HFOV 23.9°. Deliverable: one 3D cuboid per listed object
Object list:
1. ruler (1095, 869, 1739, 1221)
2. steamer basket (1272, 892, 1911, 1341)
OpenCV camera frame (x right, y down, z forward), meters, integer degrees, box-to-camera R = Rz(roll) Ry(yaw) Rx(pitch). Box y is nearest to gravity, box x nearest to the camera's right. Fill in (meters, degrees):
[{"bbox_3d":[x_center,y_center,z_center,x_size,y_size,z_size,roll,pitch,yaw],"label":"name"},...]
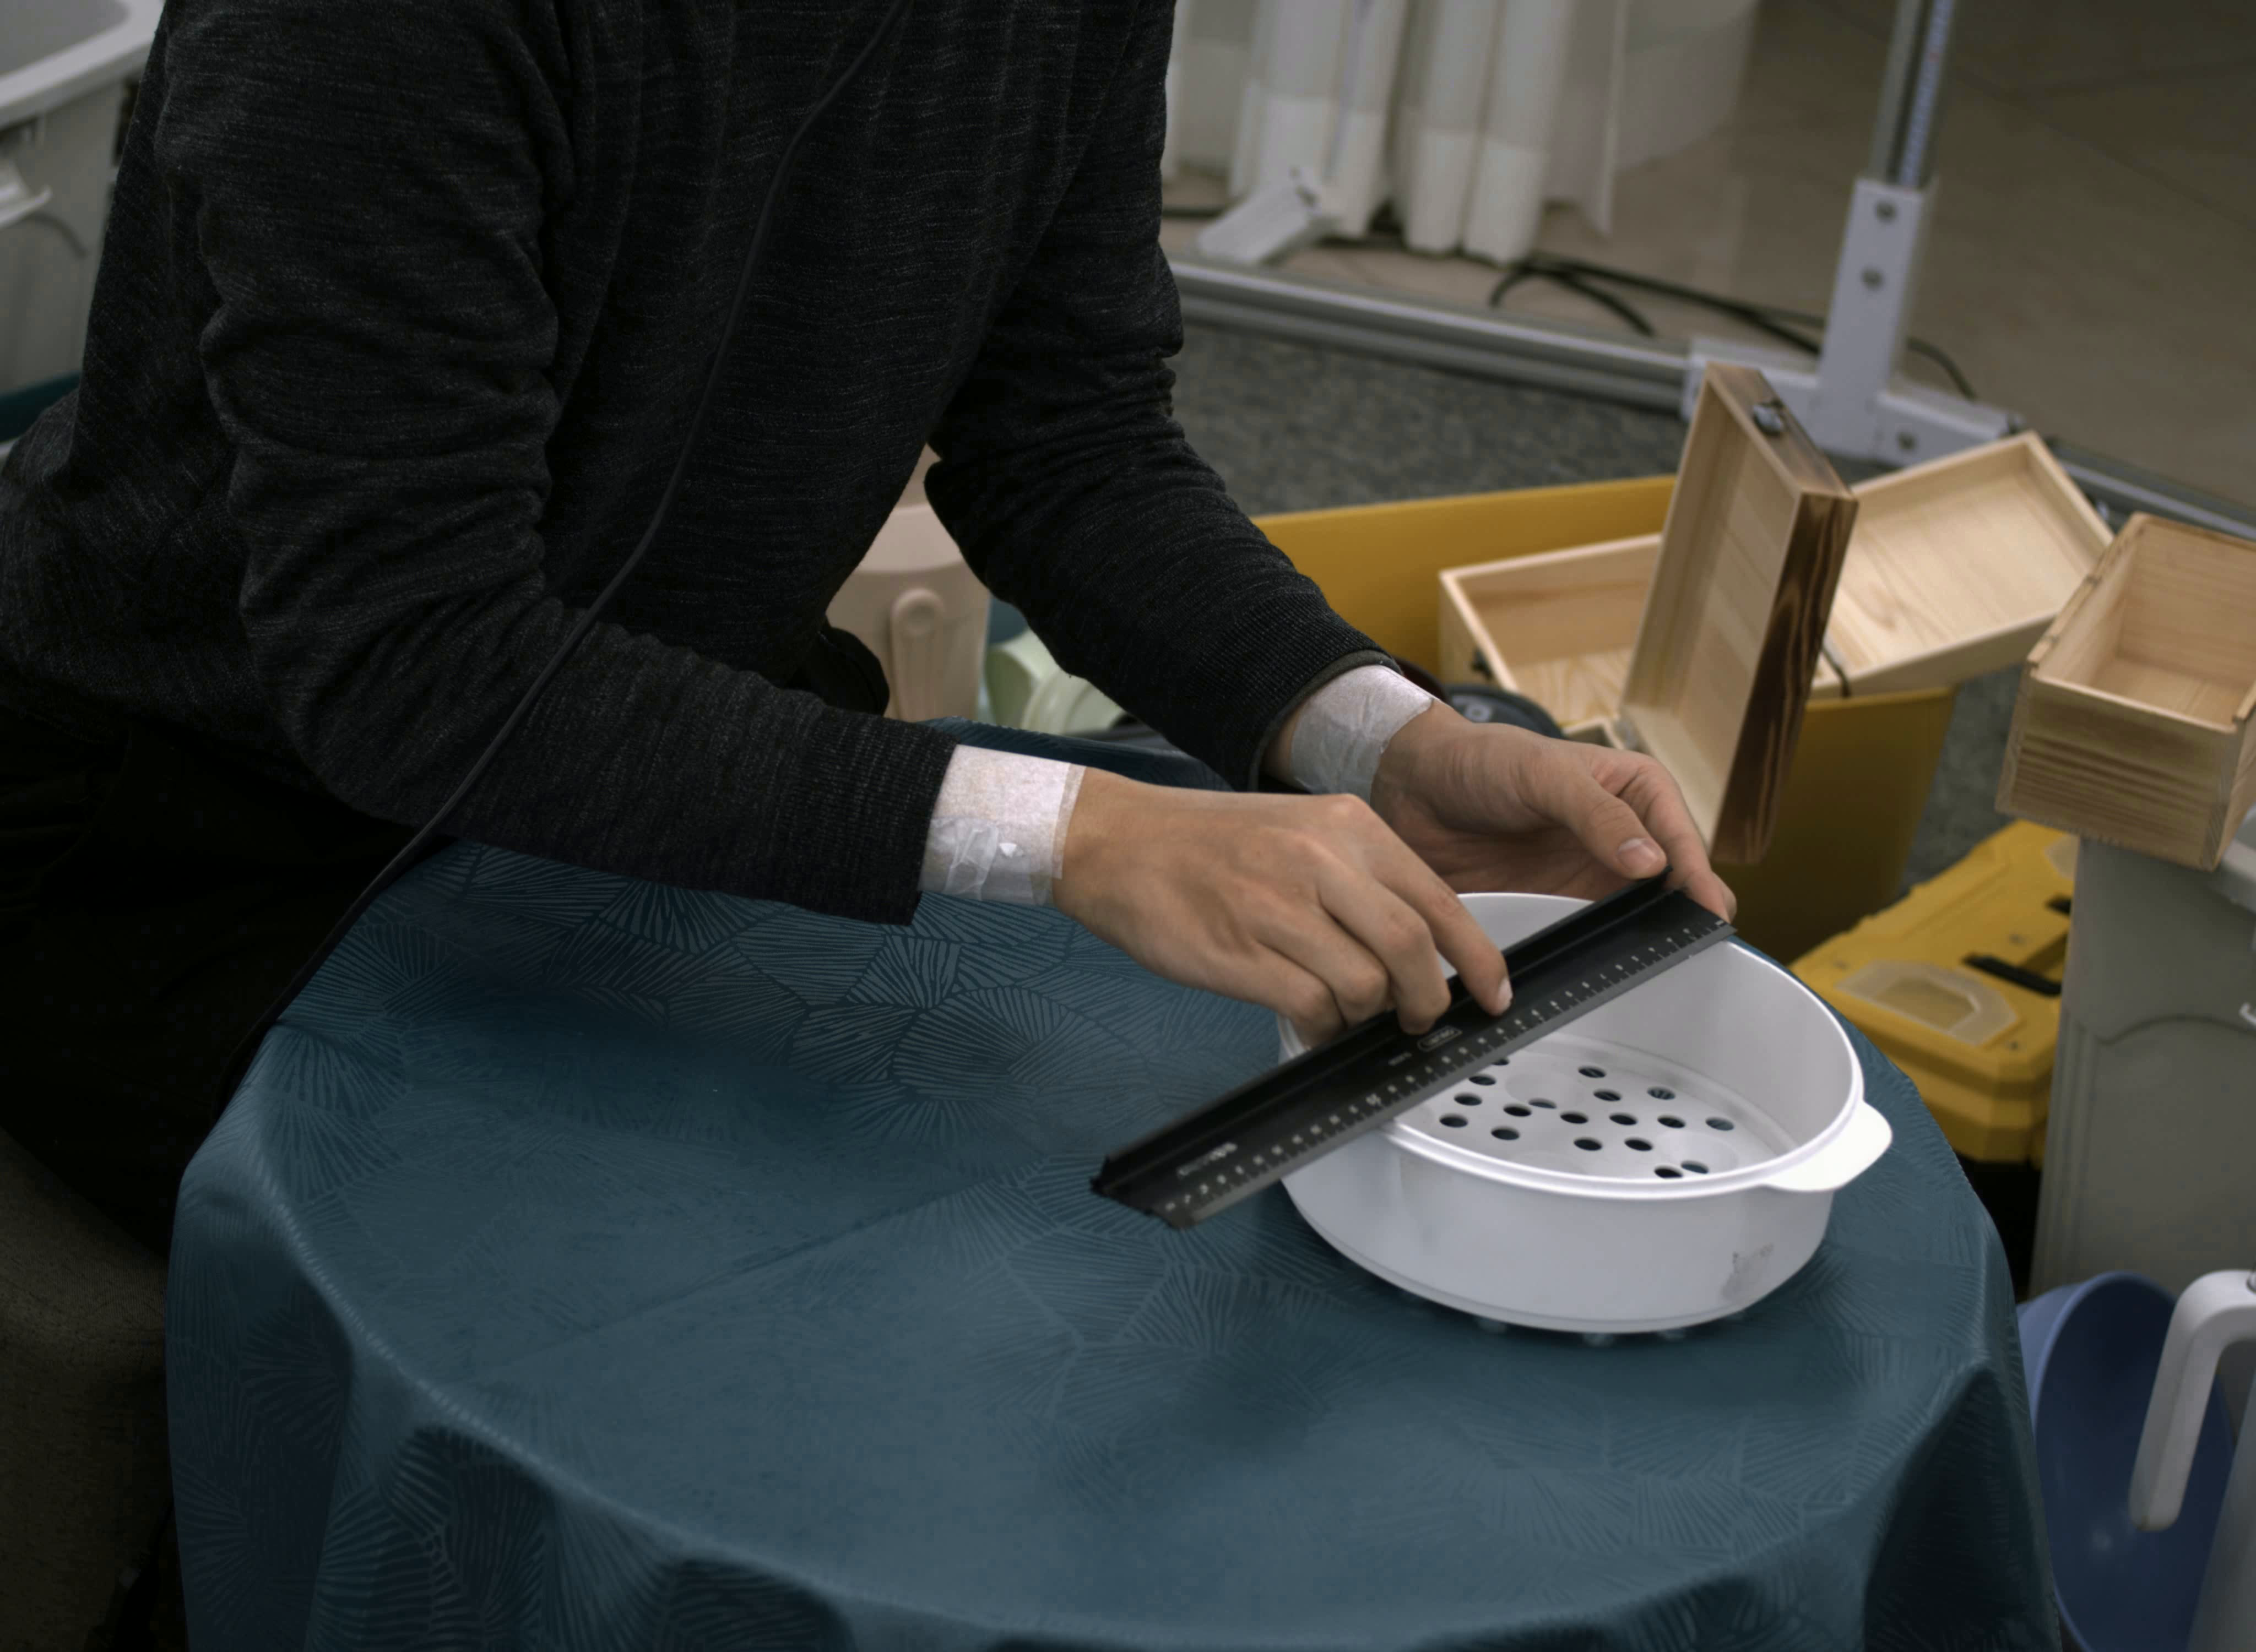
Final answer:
[{"bbox_3d":[0.102,0.069,1.763,0.039,0.017,0.311,24,31,34],"label":"ruler"},{"bbox_3d":[0.151,0.099,1.807,0.232,0.069,0.201,24,31,26],"label":"steamer basket"}]
